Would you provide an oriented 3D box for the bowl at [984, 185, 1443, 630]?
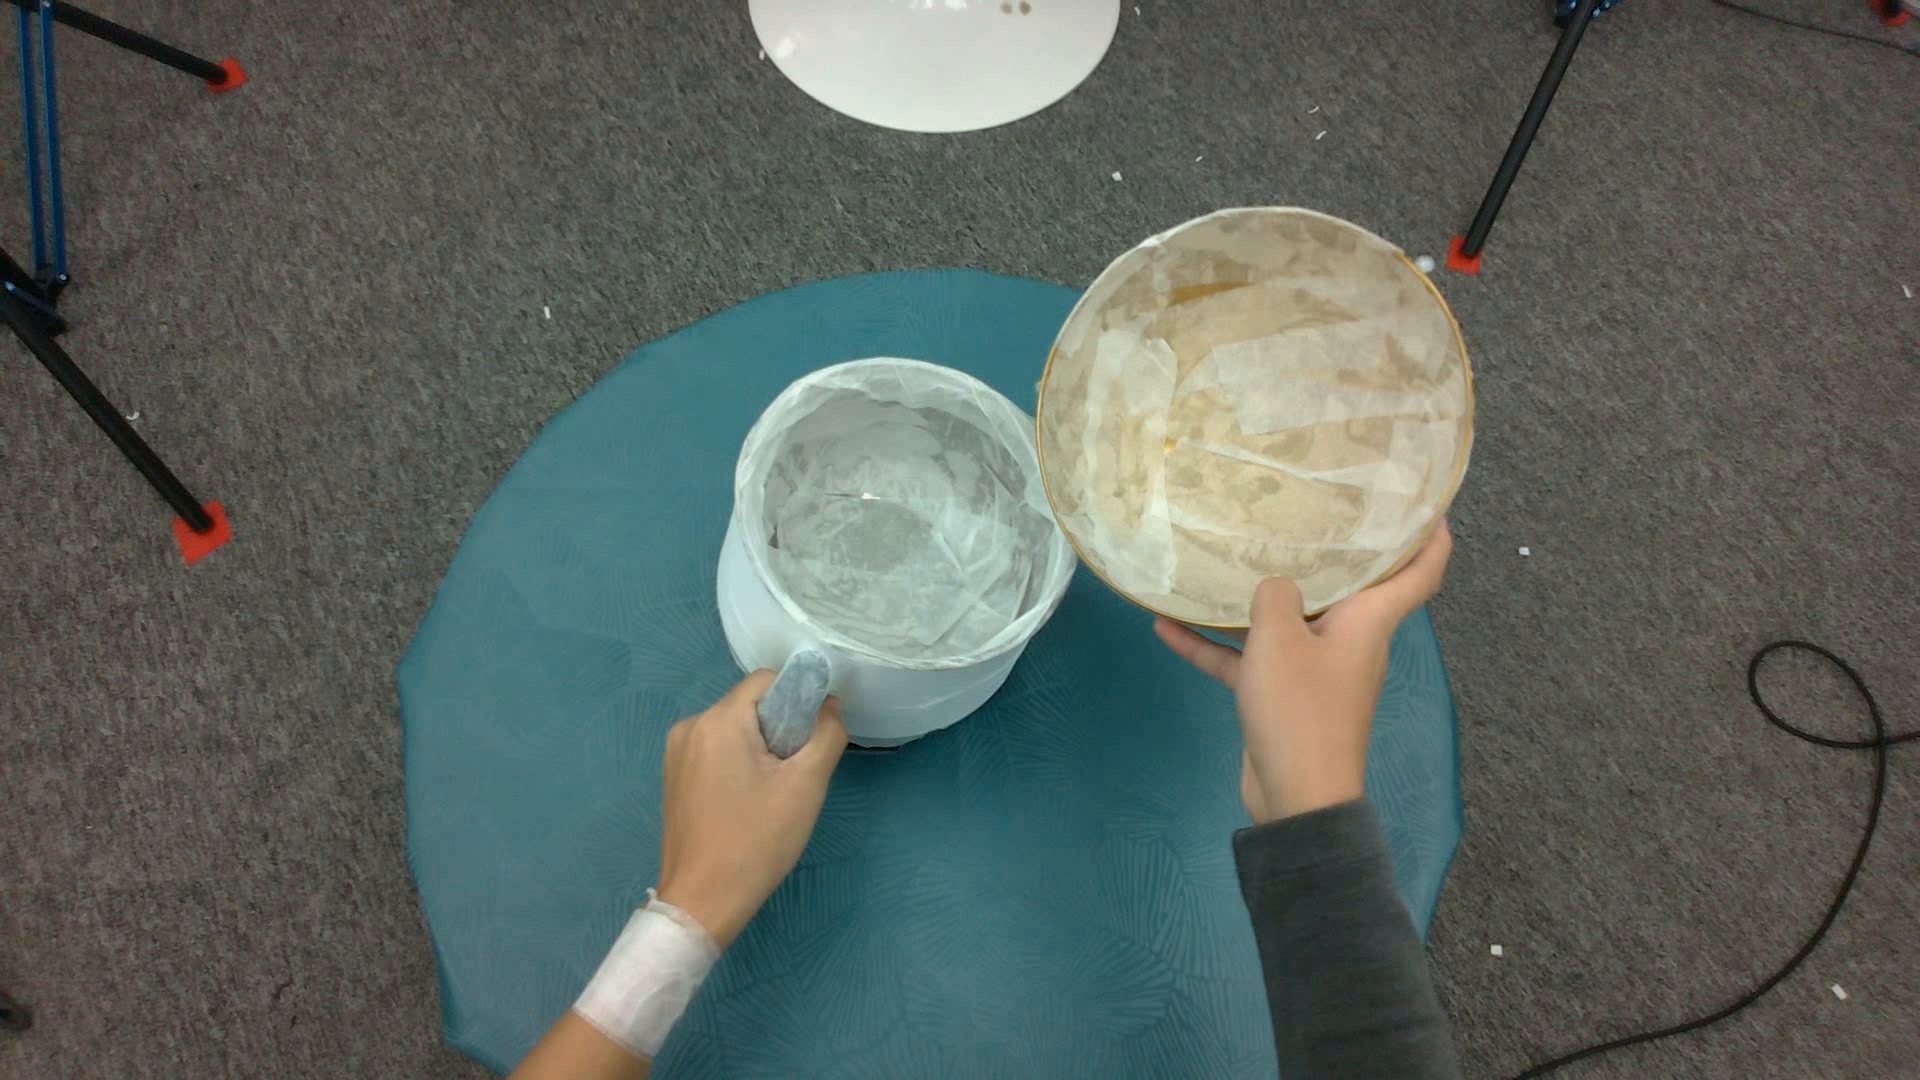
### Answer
[{"bbox_3d":[0.128,-0.057,0.674,0.214,0.094,0.215,-3,80,19],"label":"bowl"}]

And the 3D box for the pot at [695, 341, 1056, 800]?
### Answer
[{"bbox_3d":[-0.061,0.024,0.726,0.179,0.136,0.235,29,59,0],"label":"pot"}]
